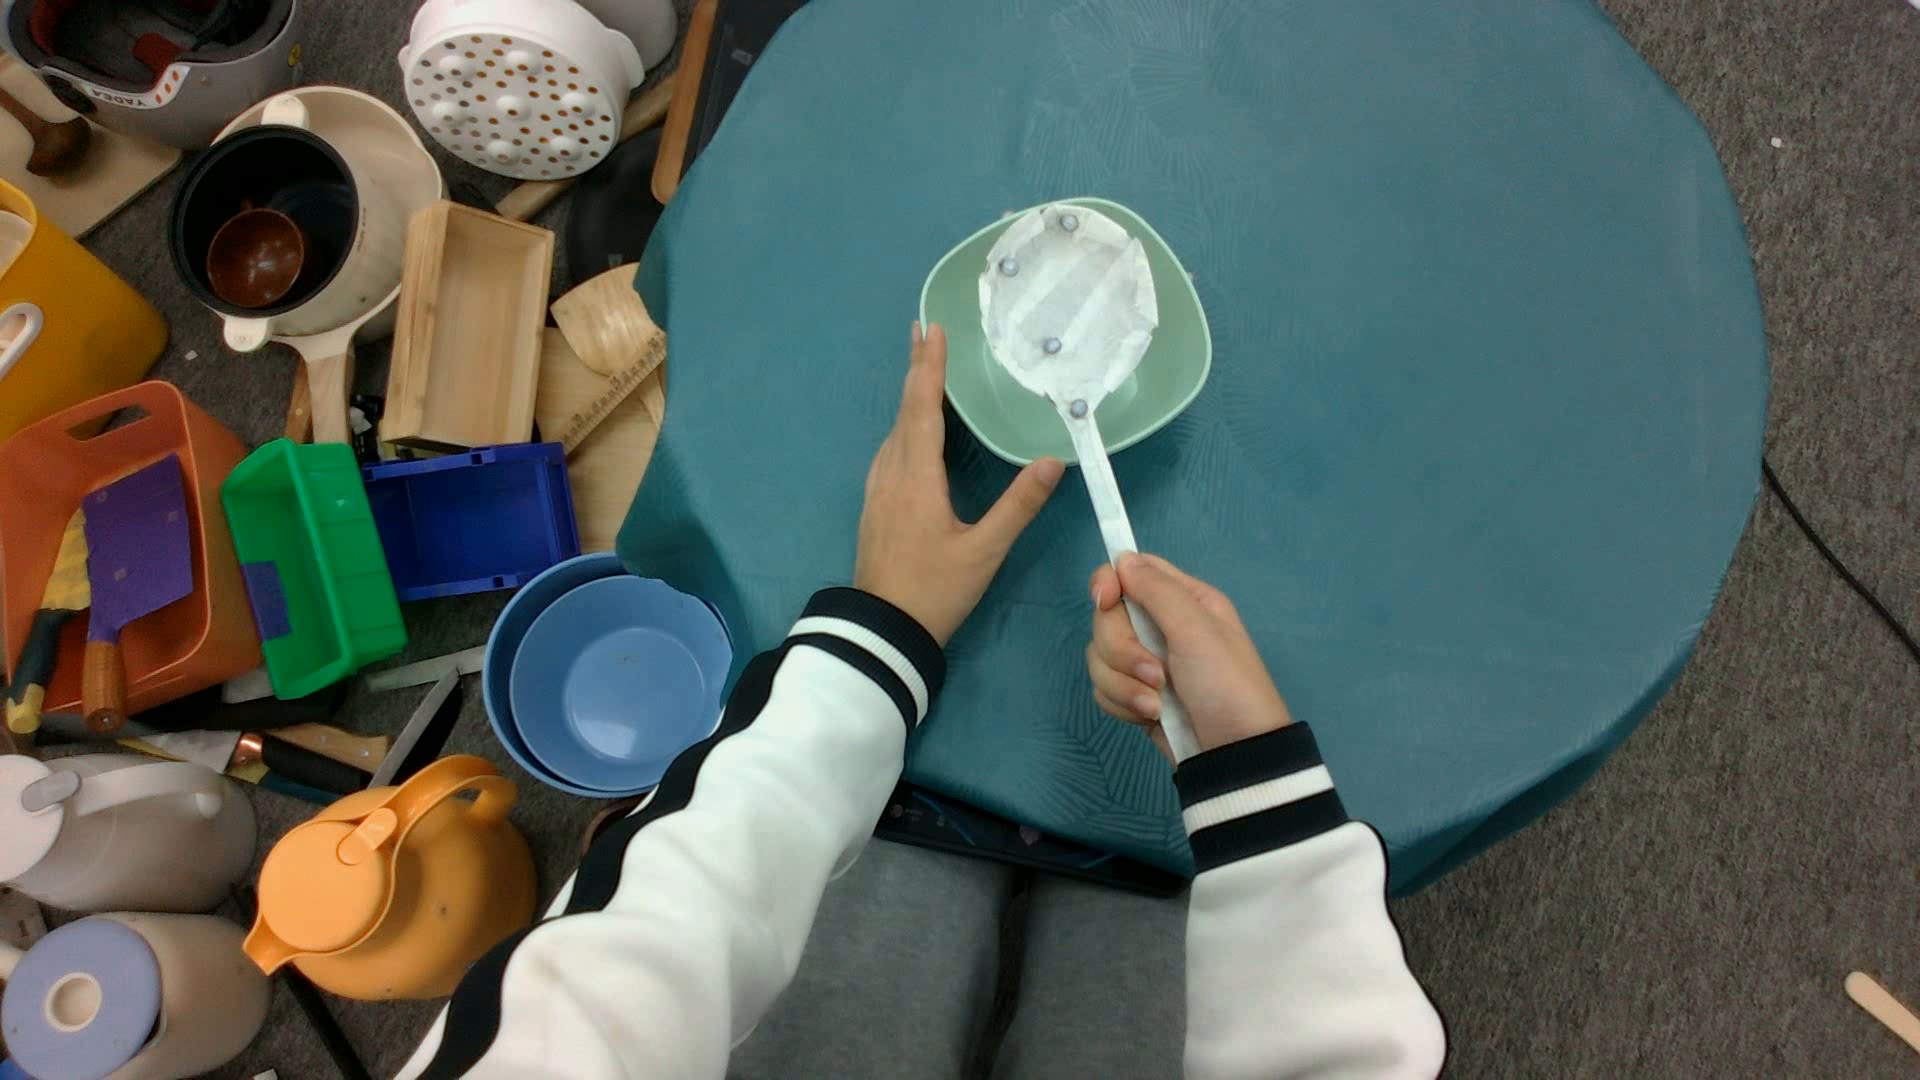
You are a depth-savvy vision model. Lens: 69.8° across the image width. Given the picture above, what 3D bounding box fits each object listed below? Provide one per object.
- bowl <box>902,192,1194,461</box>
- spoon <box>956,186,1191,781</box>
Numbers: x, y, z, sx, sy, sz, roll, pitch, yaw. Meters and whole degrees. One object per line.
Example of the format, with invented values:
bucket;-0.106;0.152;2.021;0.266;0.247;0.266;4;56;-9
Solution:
bowl;0.044;-0.103;0.722;0.151;0.058;0.152;0;73;0
spoon;0.063;-0.034;0.604;0.101;0.059;0.278;-2;59;-22
